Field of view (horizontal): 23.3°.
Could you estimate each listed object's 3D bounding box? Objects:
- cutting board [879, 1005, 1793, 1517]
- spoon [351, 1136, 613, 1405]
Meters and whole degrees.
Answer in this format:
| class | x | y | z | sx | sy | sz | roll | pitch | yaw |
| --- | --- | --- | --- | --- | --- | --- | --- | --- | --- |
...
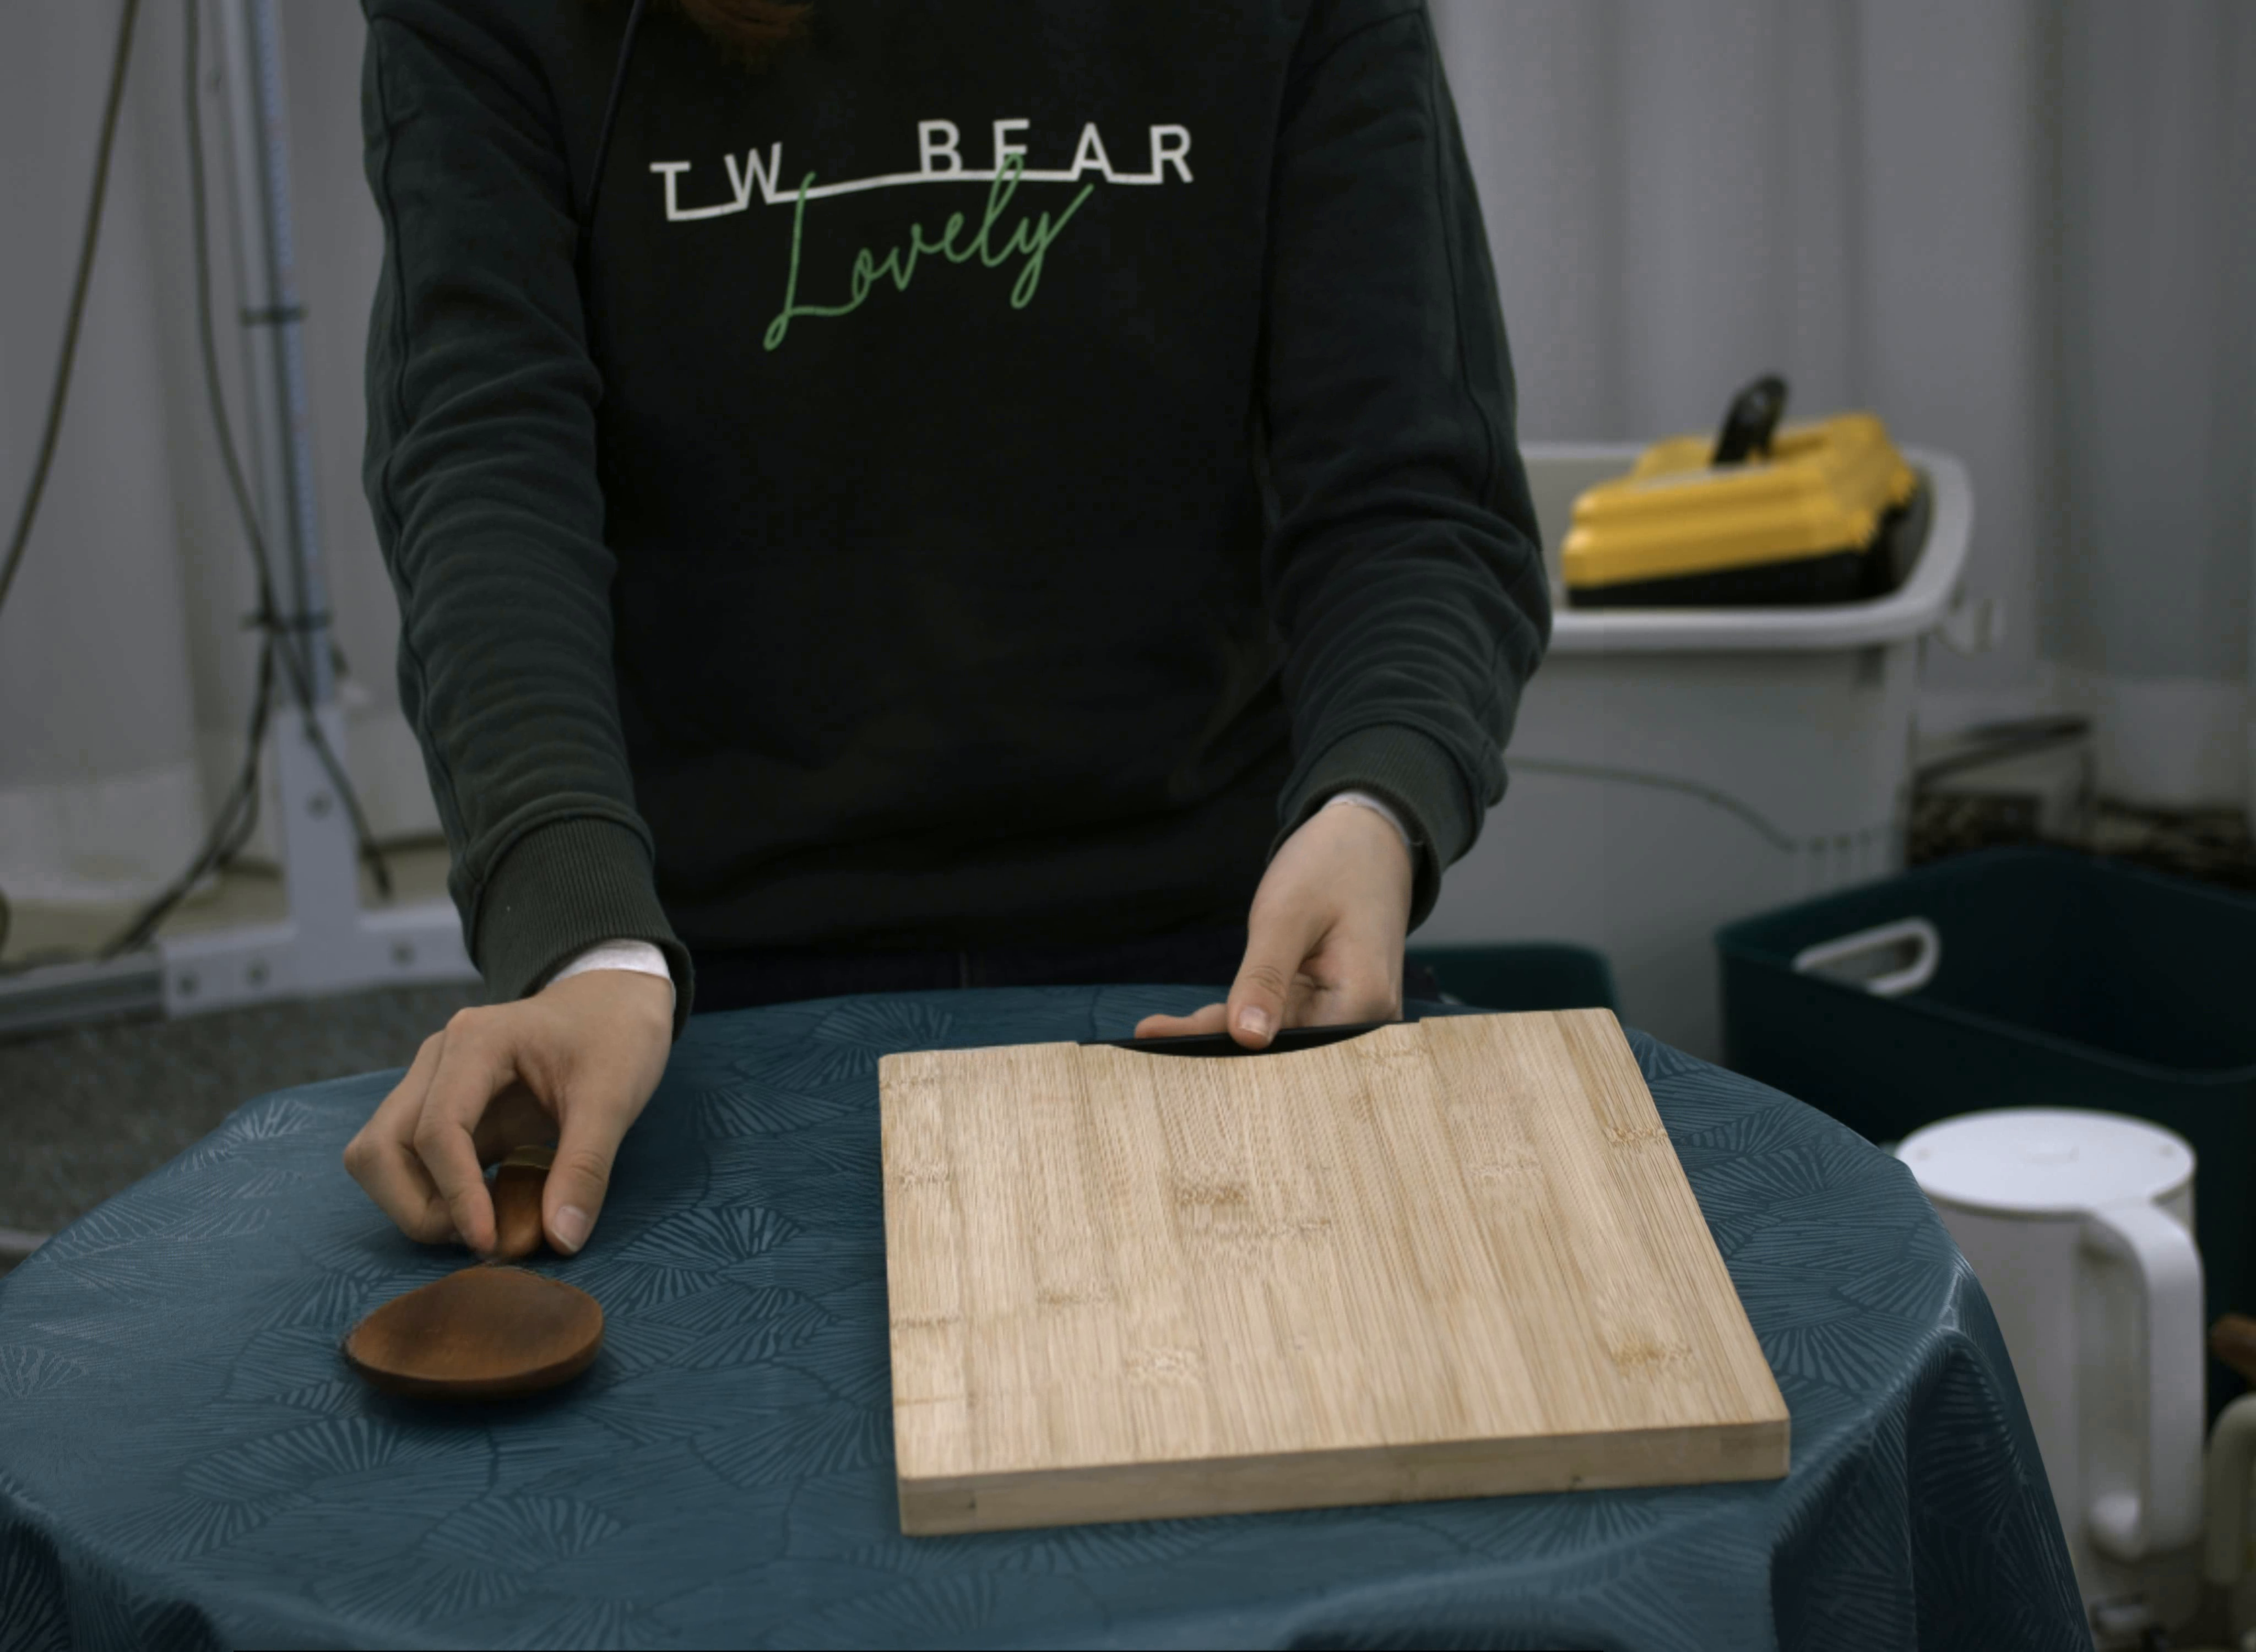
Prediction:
| class | x | y | z | sx | sy | sz | roll | pitch | yaw |
| --- | --- | --- | --- | --- | --- | --- | --- | --- | --- |
| cutting board | 0.049 | 0.123 | 1.619 | 0.250 | 0.023 | 0.351 | -3 | 17 | -3 |
| spoon | -0.186 | 0.134 | 1.641 | 0.075 | 0.017 | 0.217 | -4 | 15 | 1 |
